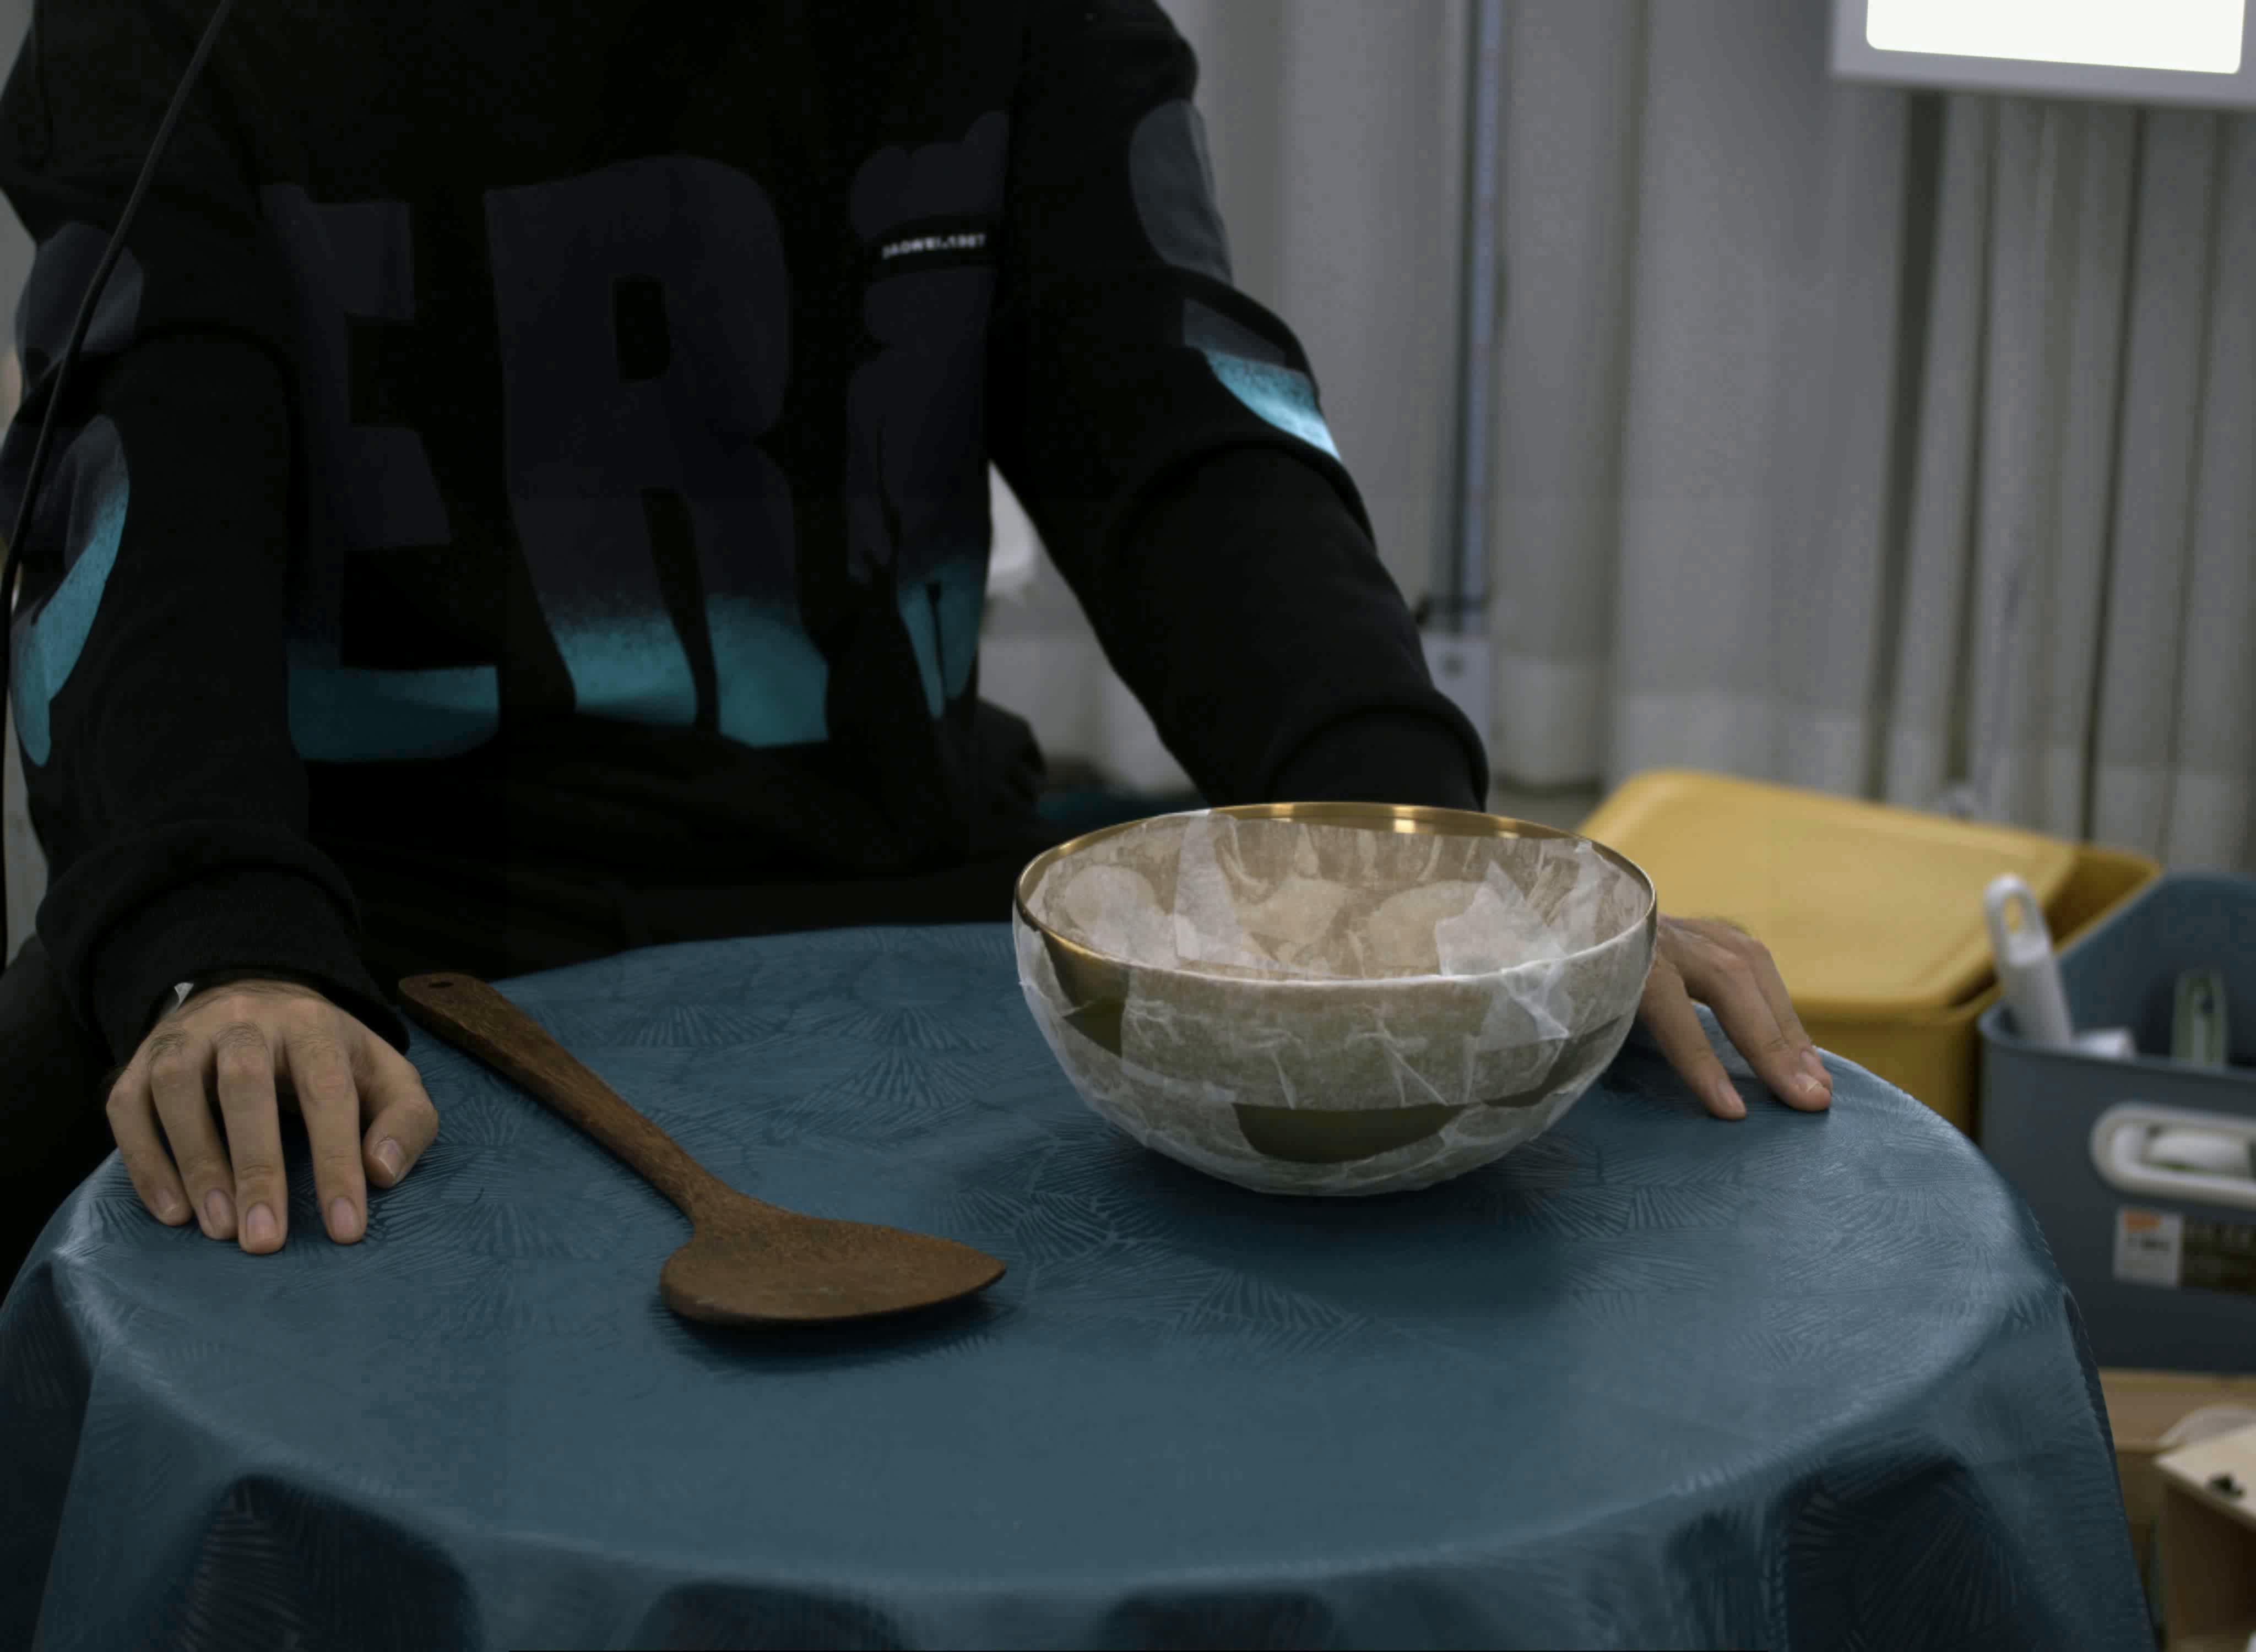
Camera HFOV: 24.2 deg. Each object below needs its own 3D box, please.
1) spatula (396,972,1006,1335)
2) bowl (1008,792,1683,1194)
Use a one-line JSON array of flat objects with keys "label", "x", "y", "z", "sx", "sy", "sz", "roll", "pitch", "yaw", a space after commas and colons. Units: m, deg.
[{"label": "spatula", "x": -0.156, "y": 0.097, "z": 1.652, "sx": 0.096, "sy": 0.016, "sz": 0.381, "roll": -7, "pitch": 17, "yaw": -27}, {"label": "bowl", "x": 0.066, "y": 0.060, "z": 1.642, "sx": 0.214, "sy": 0.095, "sz": 0.213, "roll": -1, "pitch": 16, "yaw": 1}]
